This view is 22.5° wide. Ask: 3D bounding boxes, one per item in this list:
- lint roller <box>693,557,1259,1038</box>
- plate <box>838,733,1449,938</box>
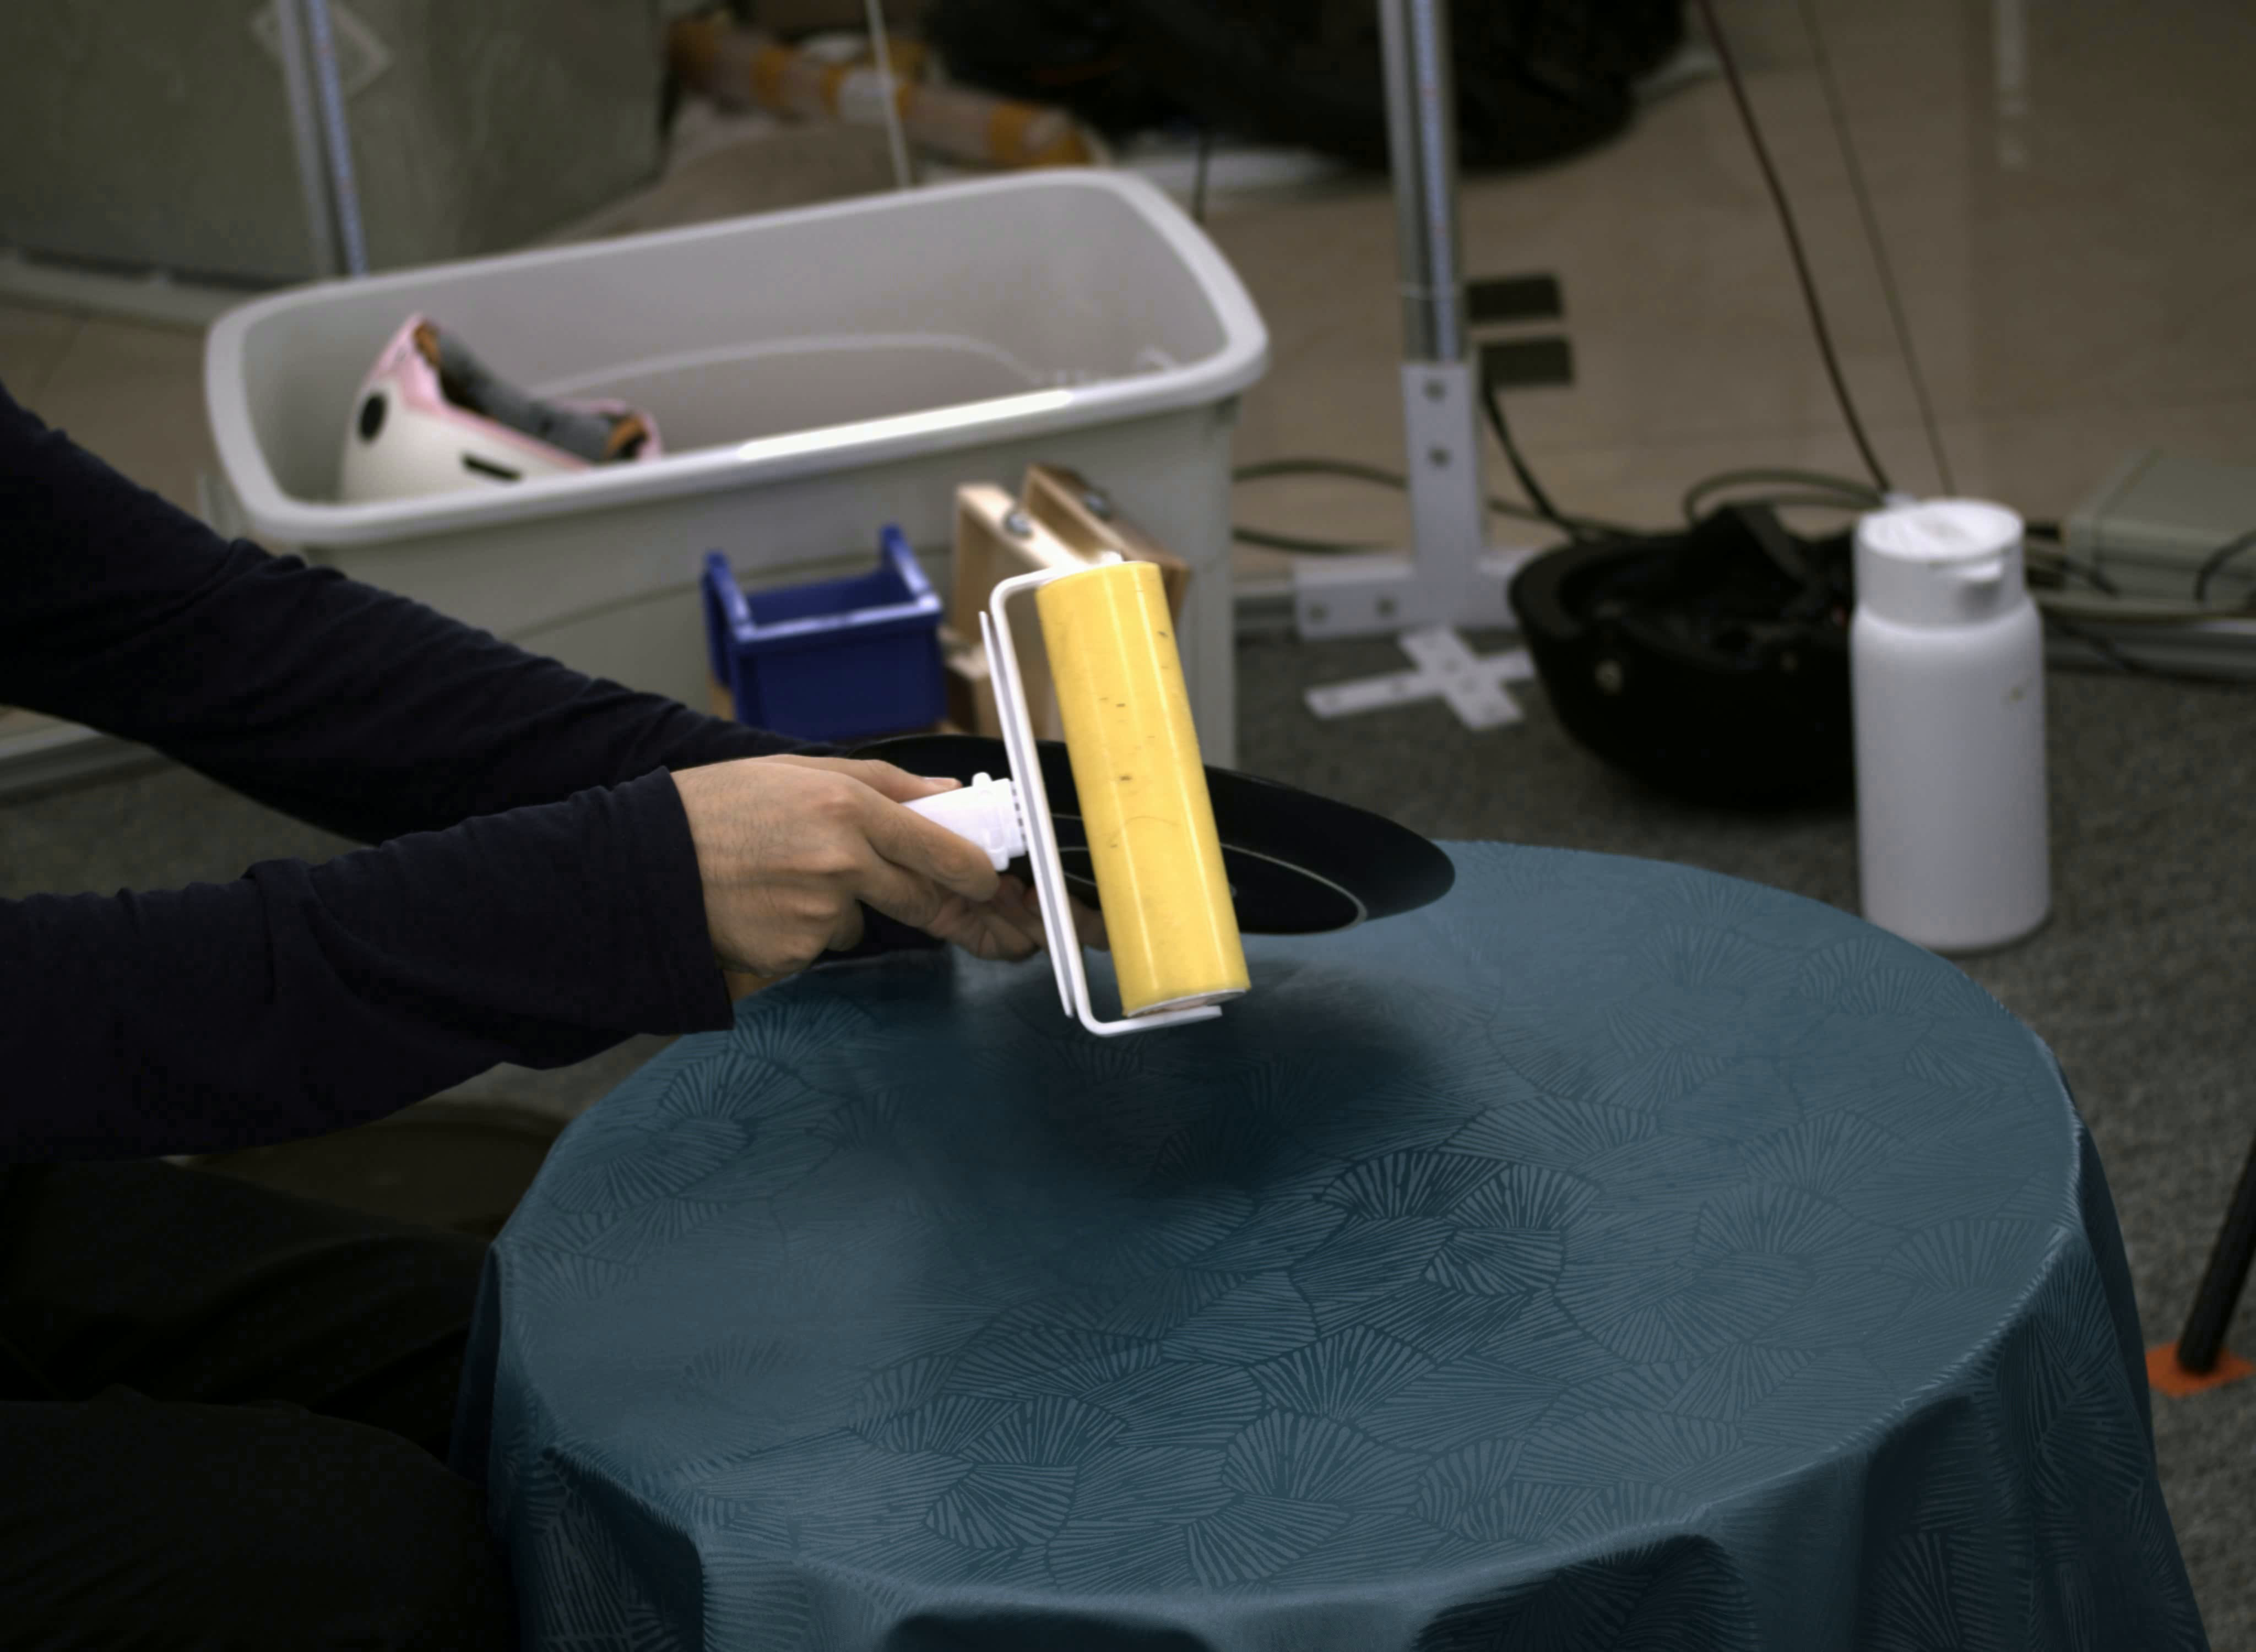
[{"bbox_3d":[-0.063,0.003,2.056,0.191,0.173,0.052,-12,-7,-8],"label":"lint roller"},{"bbox_3d":[0.004,0.009,2.206,0.244,0.023,0.246,10,-12,2],"label":"plate"}]
